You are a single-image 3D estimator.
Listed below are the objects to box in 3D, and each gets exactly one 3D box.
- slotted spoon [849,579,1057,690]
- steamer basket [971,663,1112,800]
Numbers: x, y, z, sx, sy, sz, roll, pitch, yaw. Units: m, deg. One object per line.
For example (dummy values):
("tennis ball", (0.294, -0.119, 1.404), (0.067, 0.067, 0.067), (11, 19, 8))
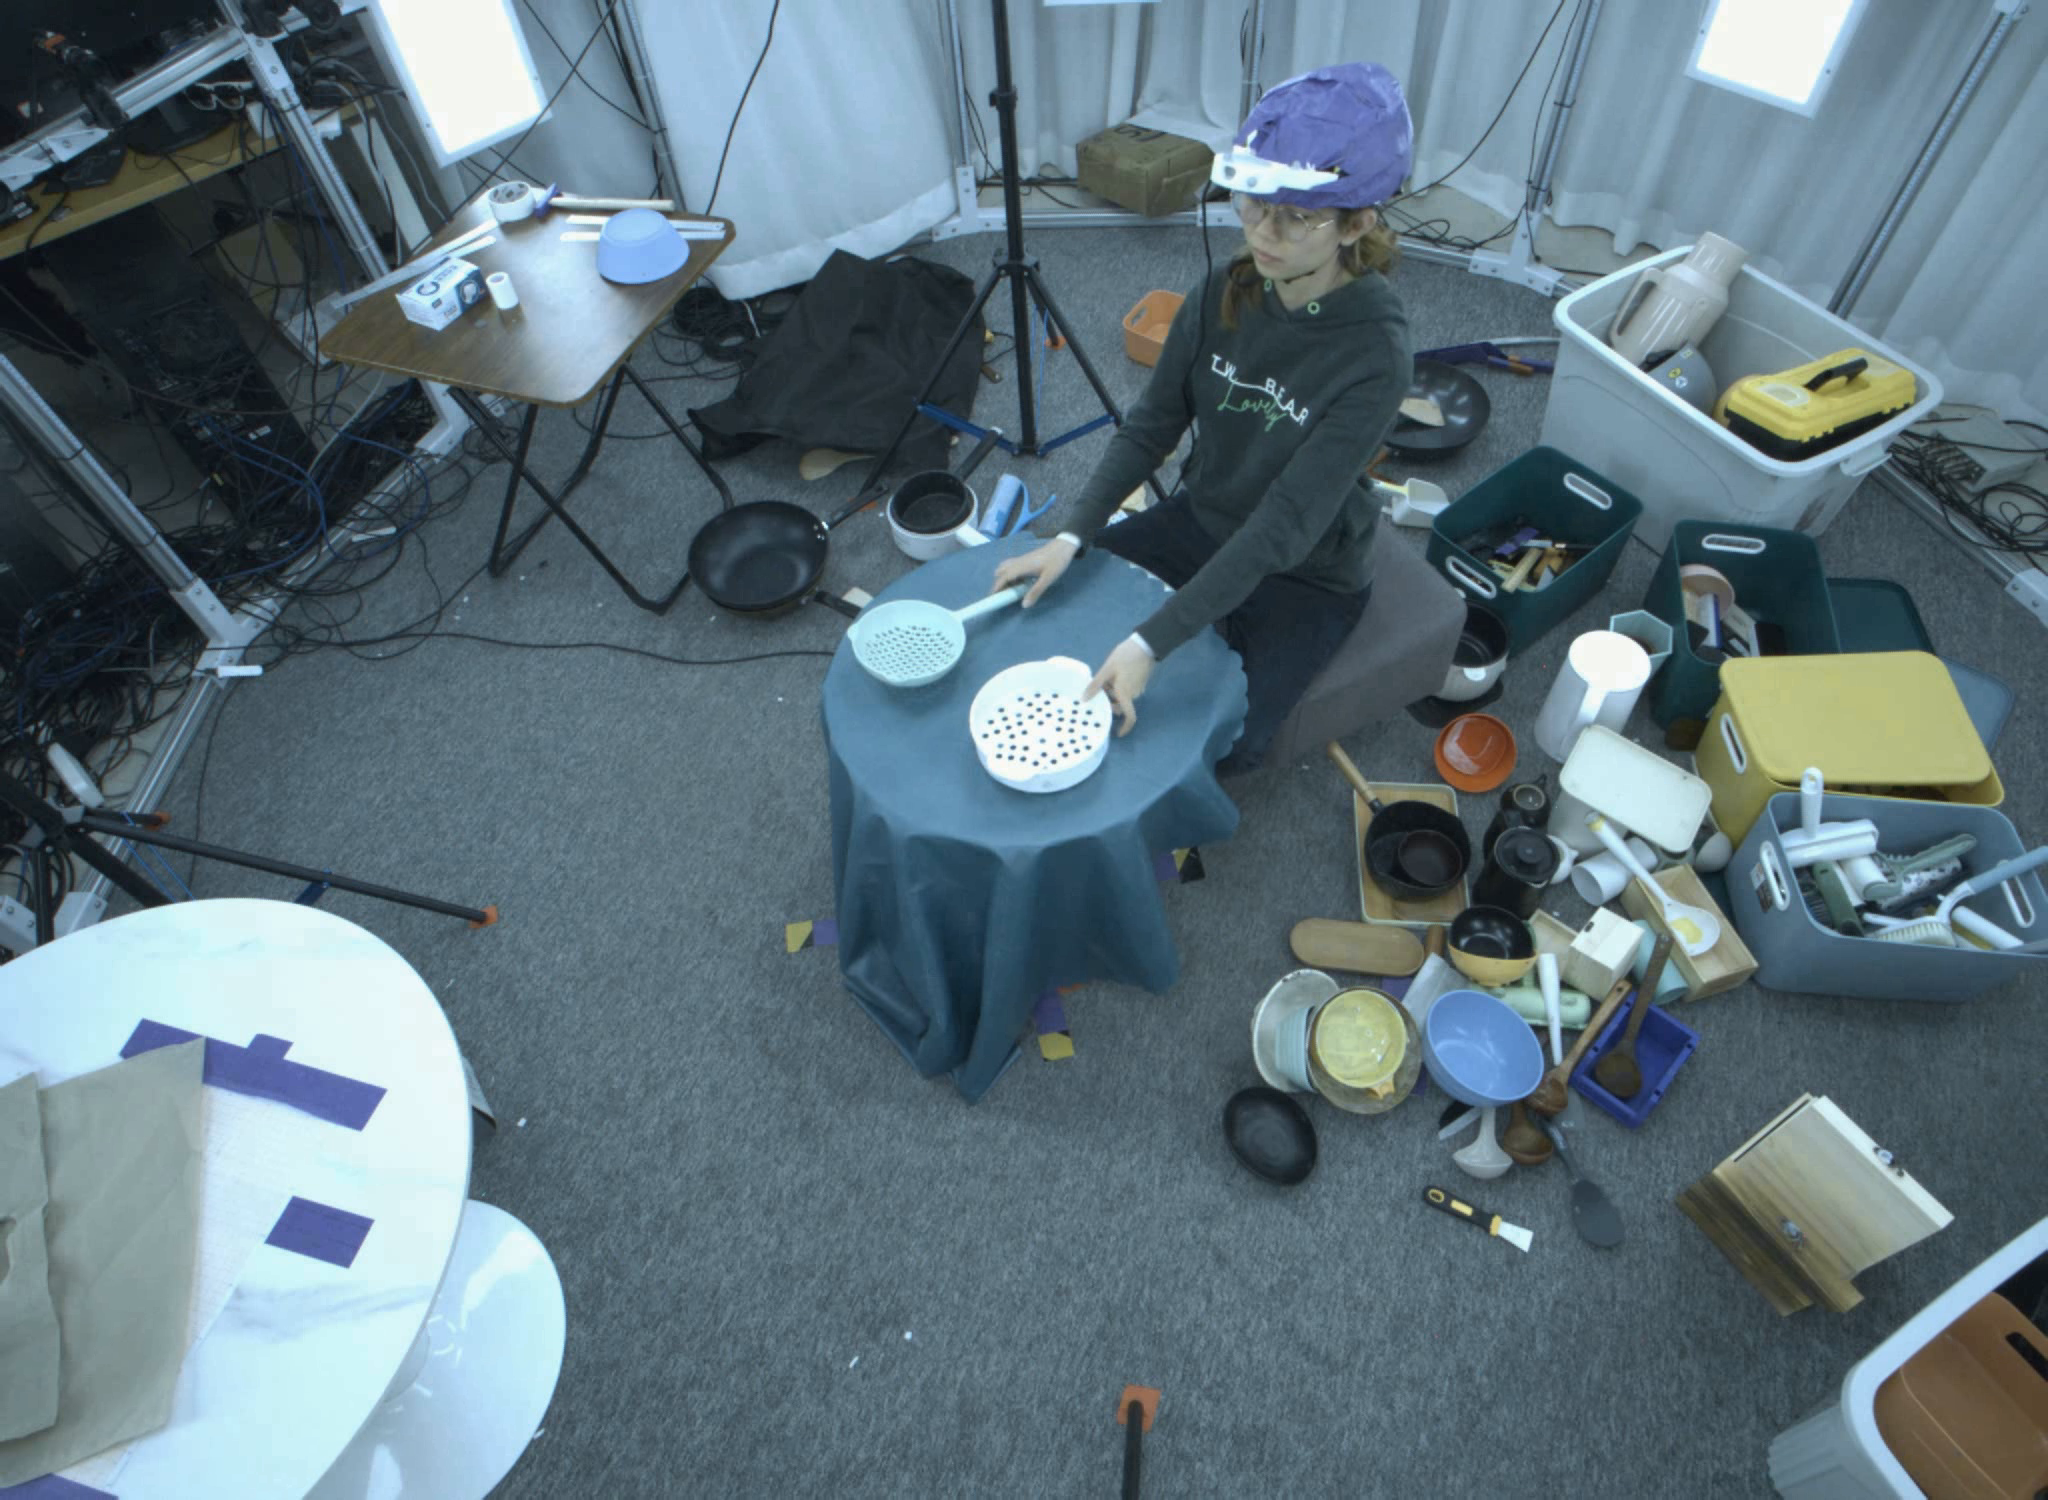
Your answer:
("slotted spoon", (-0.095, -0.198, 1.900), (0.361, 0.076, 0.166), (-33, 61, -20))
("steamer basket", (0.026, -0.022, 1.773), (0.200, 0.070, 0.230), (20, 58, 14))
